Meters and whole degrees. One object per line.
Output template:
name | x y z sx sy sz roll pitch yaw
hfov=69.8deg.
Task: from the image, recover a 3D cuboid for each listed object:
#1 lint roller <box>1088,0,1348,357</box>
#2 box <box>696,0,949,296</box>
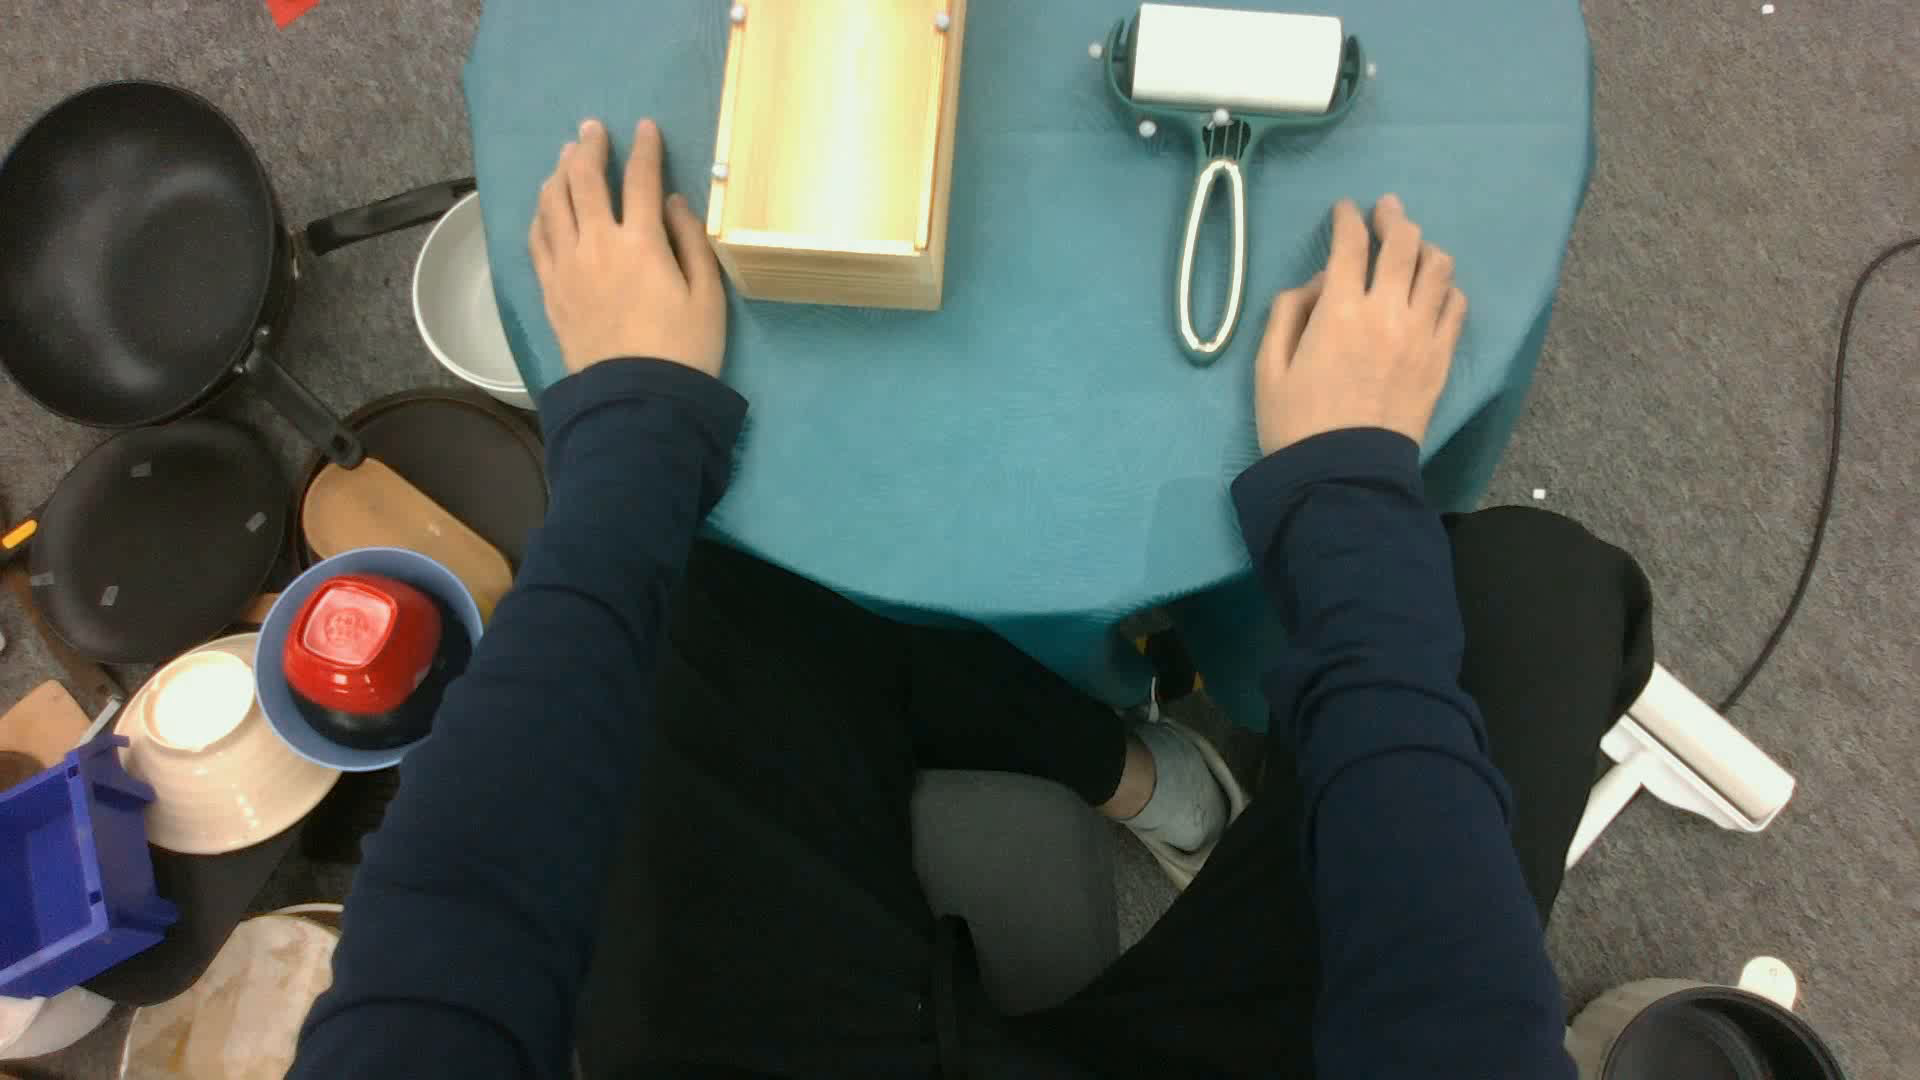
lint roller | 0.126 -0.186 0.704 0.134 0.048 0.180 5 81 3
box | -0.064 -0.240 0.701 0.107 0.080 0.212 3 80 2
